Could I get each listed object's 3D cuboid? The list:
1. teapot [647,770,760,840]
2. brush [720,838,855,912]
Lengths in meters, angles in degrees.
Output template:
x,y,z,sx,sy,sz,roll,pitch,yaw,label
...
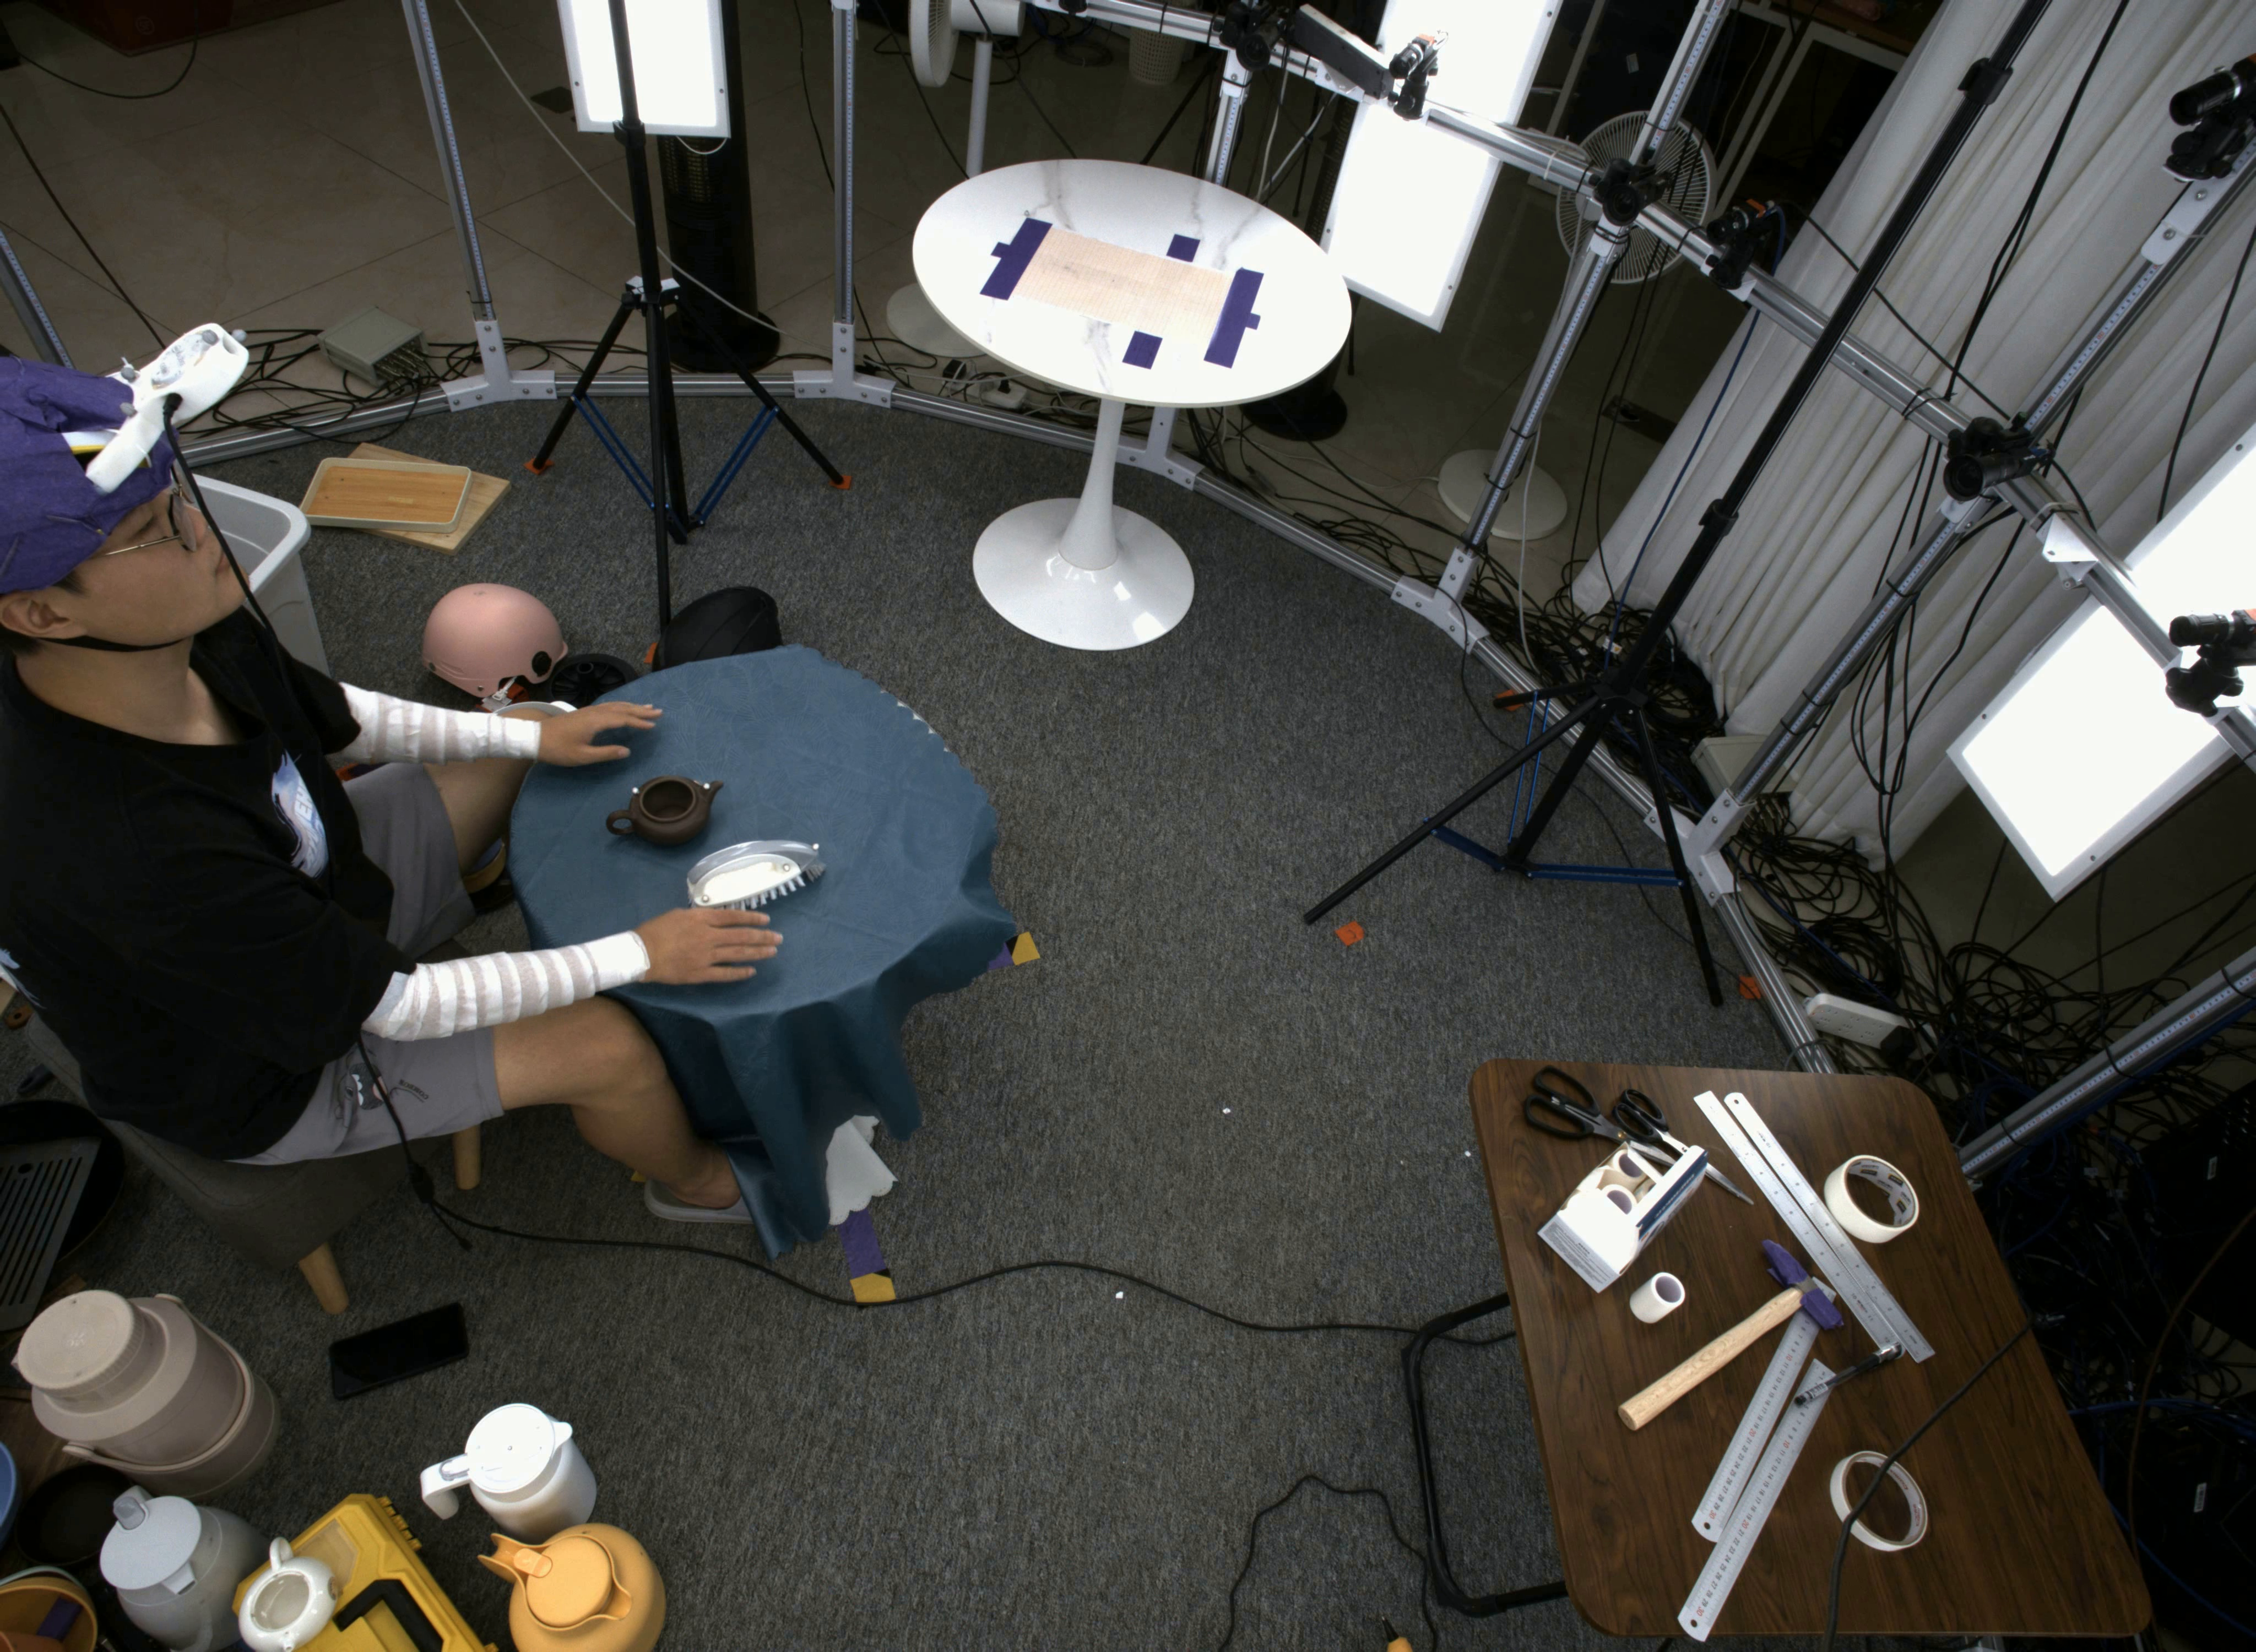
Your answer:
x,y,z,sx,sy,sz,roll,pitch,yaw,label
-0.555,-0.029,1.688,0.154,0.055,0.100,-22,60,-27,teapot
-0.429,0.045,1.641,0.176,0.096,0.060,-14,60,-25,brush
